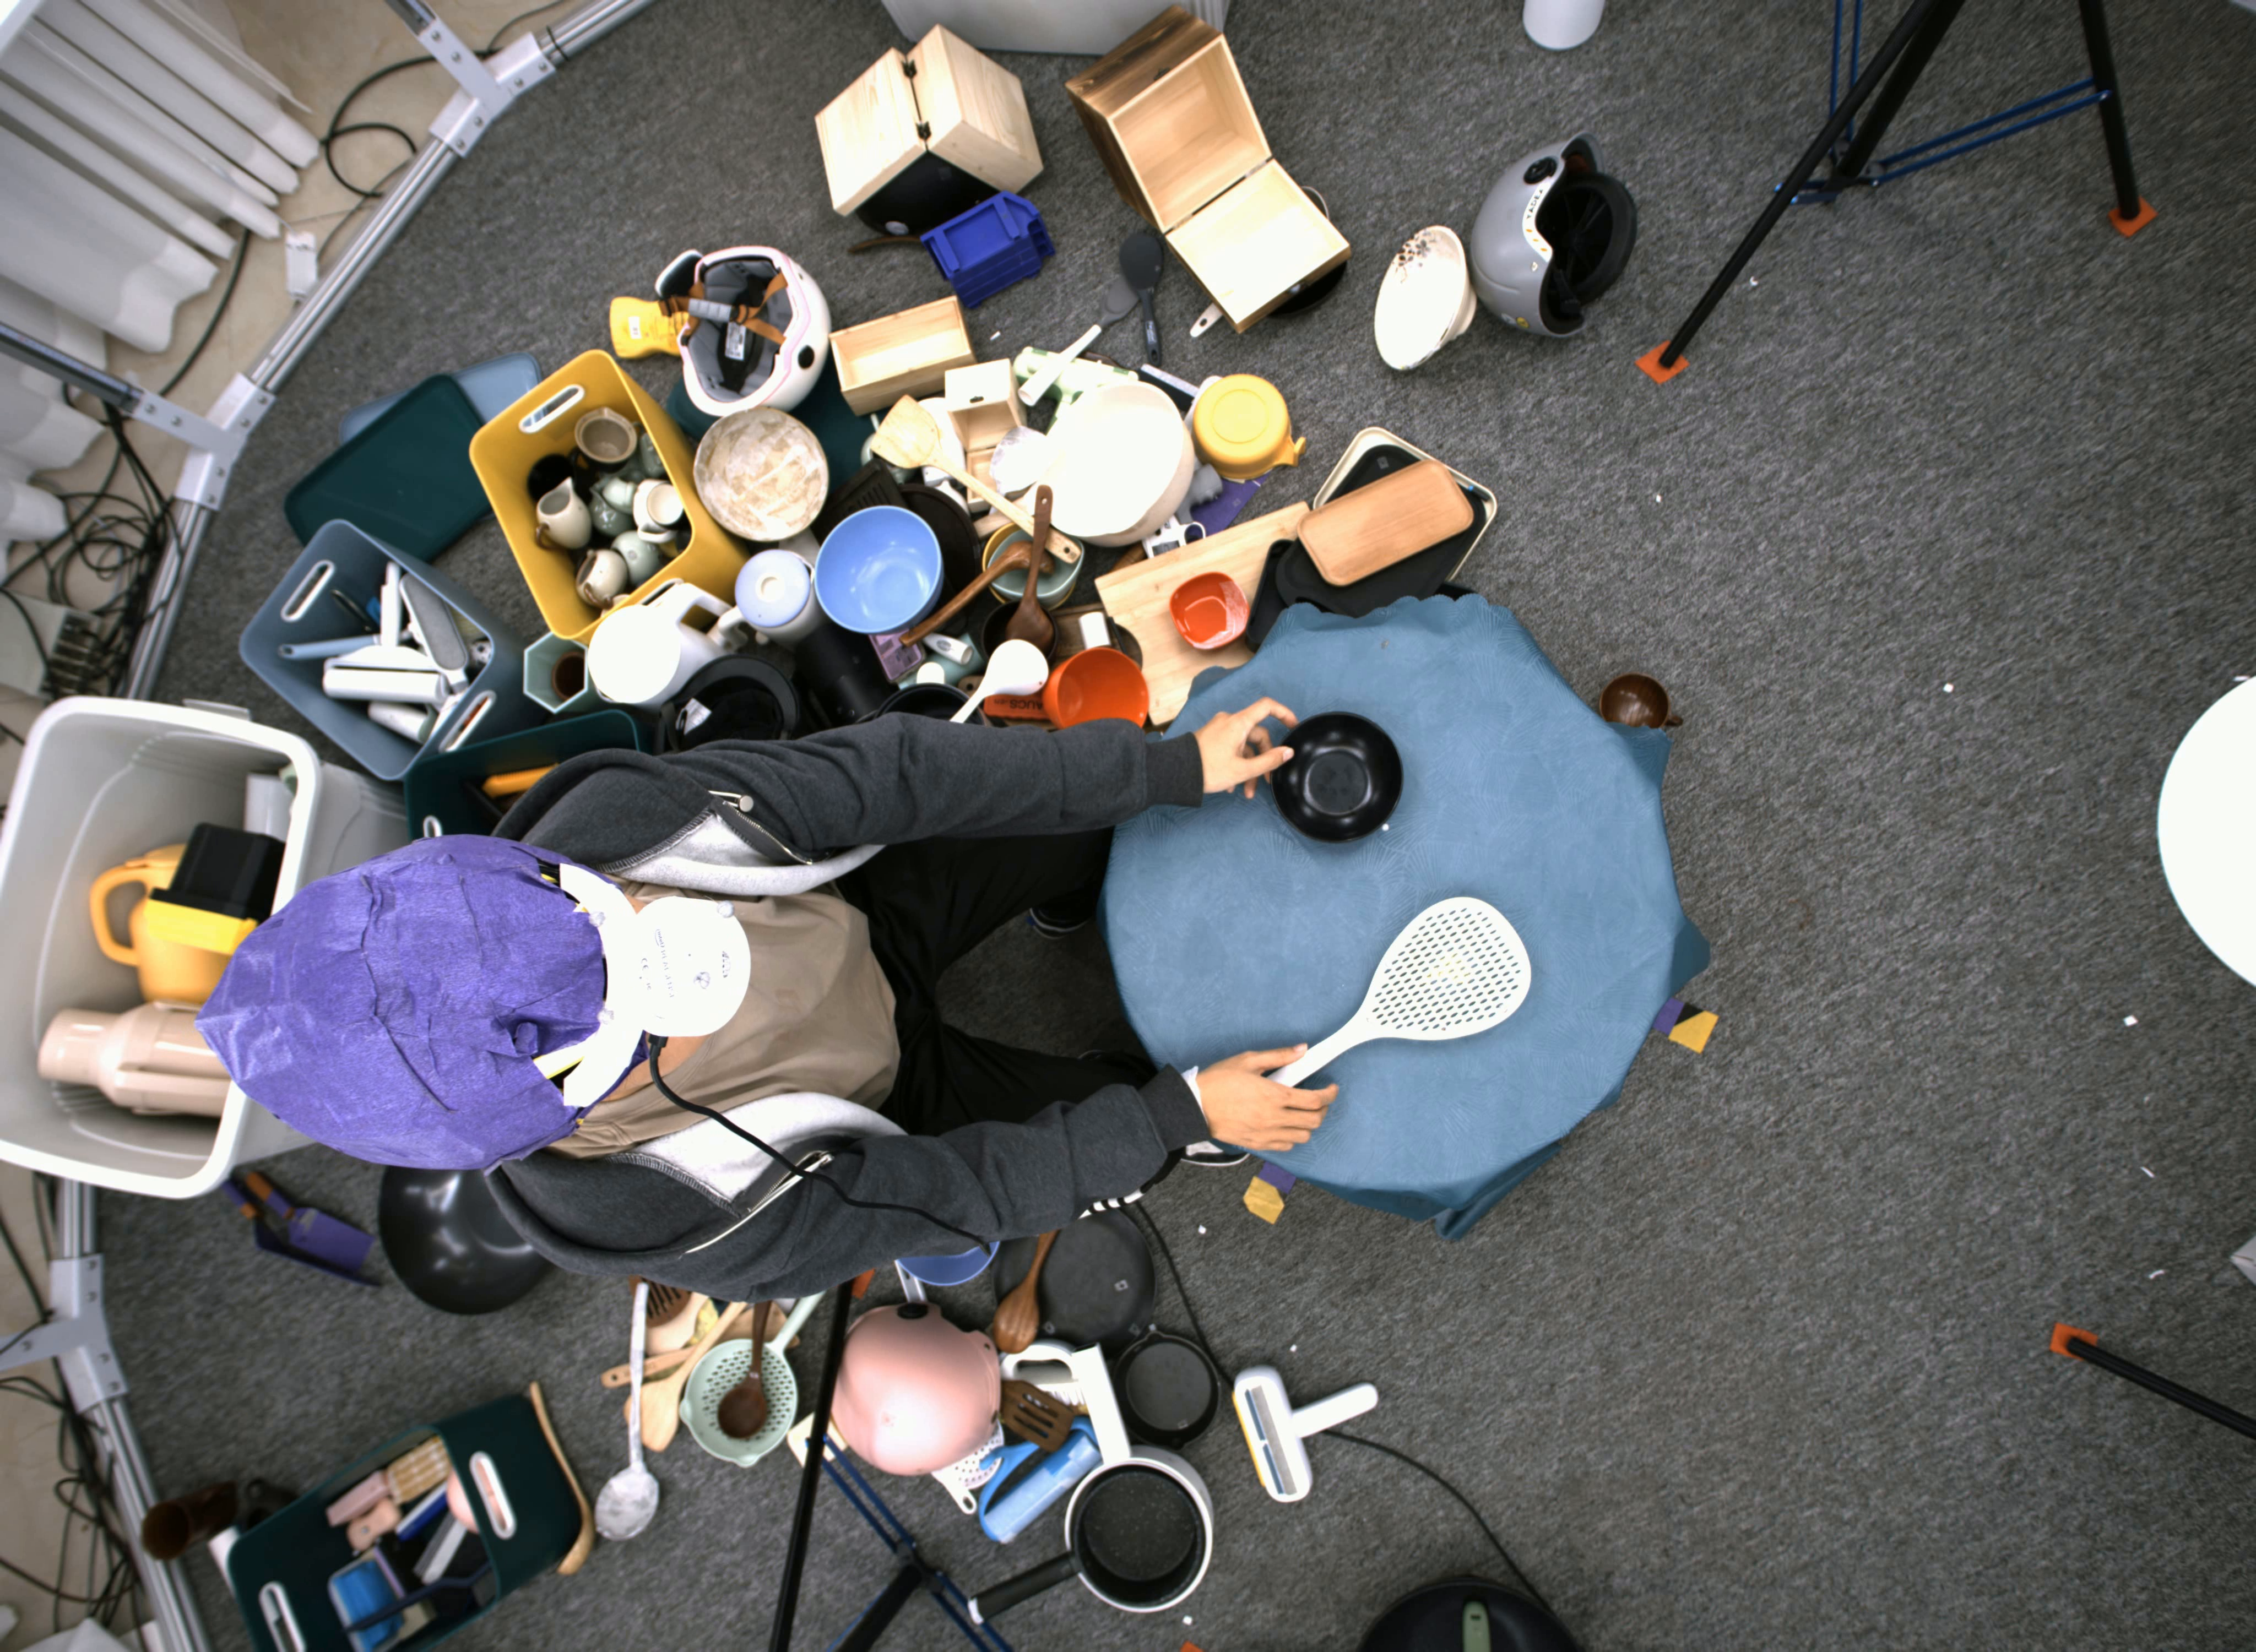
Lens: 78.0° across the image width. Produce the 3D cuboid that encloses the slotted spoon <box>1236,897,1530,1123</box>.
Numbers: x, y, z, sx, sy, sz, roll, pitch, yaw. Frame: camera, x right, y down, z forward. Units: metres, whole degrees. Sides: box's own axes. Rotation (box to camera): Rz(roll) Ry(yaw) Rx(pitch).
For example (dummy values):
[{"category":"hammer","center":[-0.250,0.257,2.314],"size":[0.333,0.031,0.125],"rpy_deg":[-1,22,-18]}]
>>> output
[{"category":"slotted spoon","center":[0.252,0.204,1.435],"size":[0.350,0.050,0.136],"rpy_deg":[-35,85,7]}]

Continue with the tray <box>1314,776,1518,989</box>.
[{"category":"tray","center":[0.414,0.094,1.987],"size":[0.191,0.027,0.300],"rpy_deg":[27,91,11]}]
